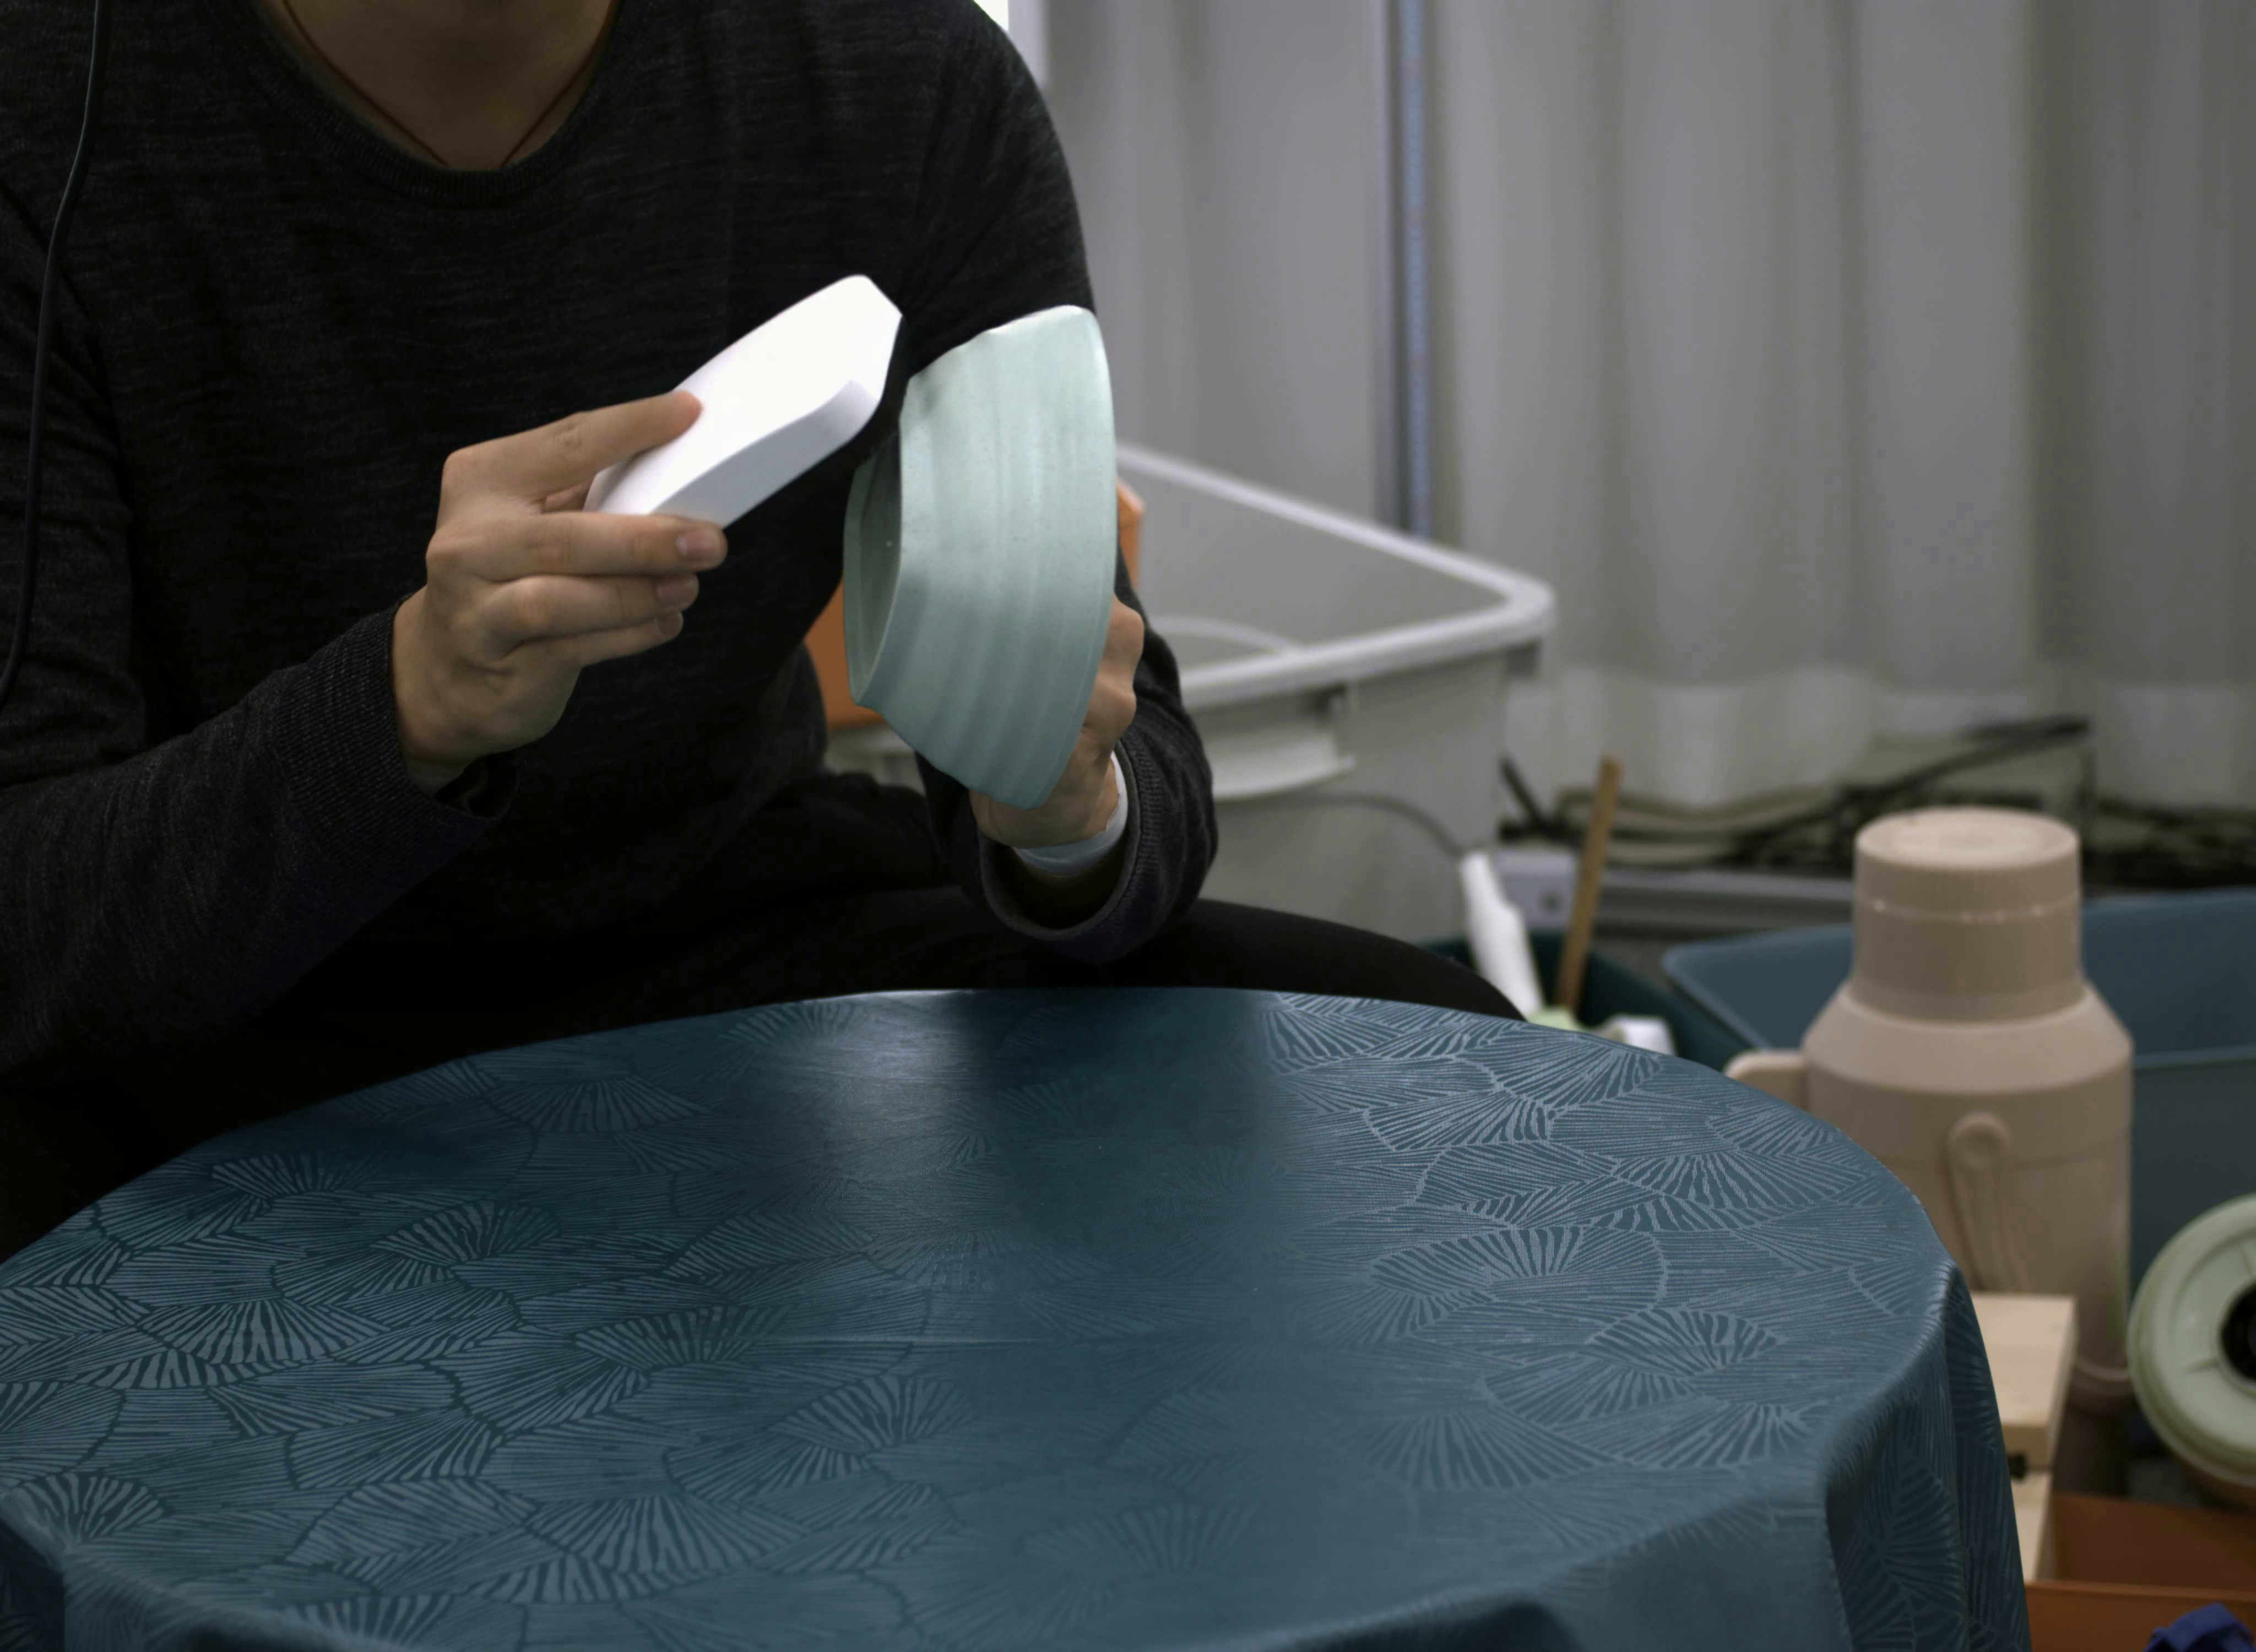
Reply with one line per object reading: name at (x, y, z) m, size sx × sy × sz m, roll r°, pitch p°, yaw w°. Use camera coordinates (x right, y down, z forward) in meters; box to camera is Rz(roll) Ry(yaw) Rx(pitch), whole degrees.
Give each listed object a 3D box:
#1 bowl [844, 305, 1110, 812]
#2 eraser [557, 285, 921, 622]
bowl at (-0.049, -0.081, 1.623) m, size 0.058 × 0.151 × 0.152 m, roll 4°, pitch 13°, yaw -12°
eraser at (-0.118, -0.112, 1.629) m, size 0.131 × 0.034 × 0.064 m, roll -30°, pitch 33°, yaw 34°
